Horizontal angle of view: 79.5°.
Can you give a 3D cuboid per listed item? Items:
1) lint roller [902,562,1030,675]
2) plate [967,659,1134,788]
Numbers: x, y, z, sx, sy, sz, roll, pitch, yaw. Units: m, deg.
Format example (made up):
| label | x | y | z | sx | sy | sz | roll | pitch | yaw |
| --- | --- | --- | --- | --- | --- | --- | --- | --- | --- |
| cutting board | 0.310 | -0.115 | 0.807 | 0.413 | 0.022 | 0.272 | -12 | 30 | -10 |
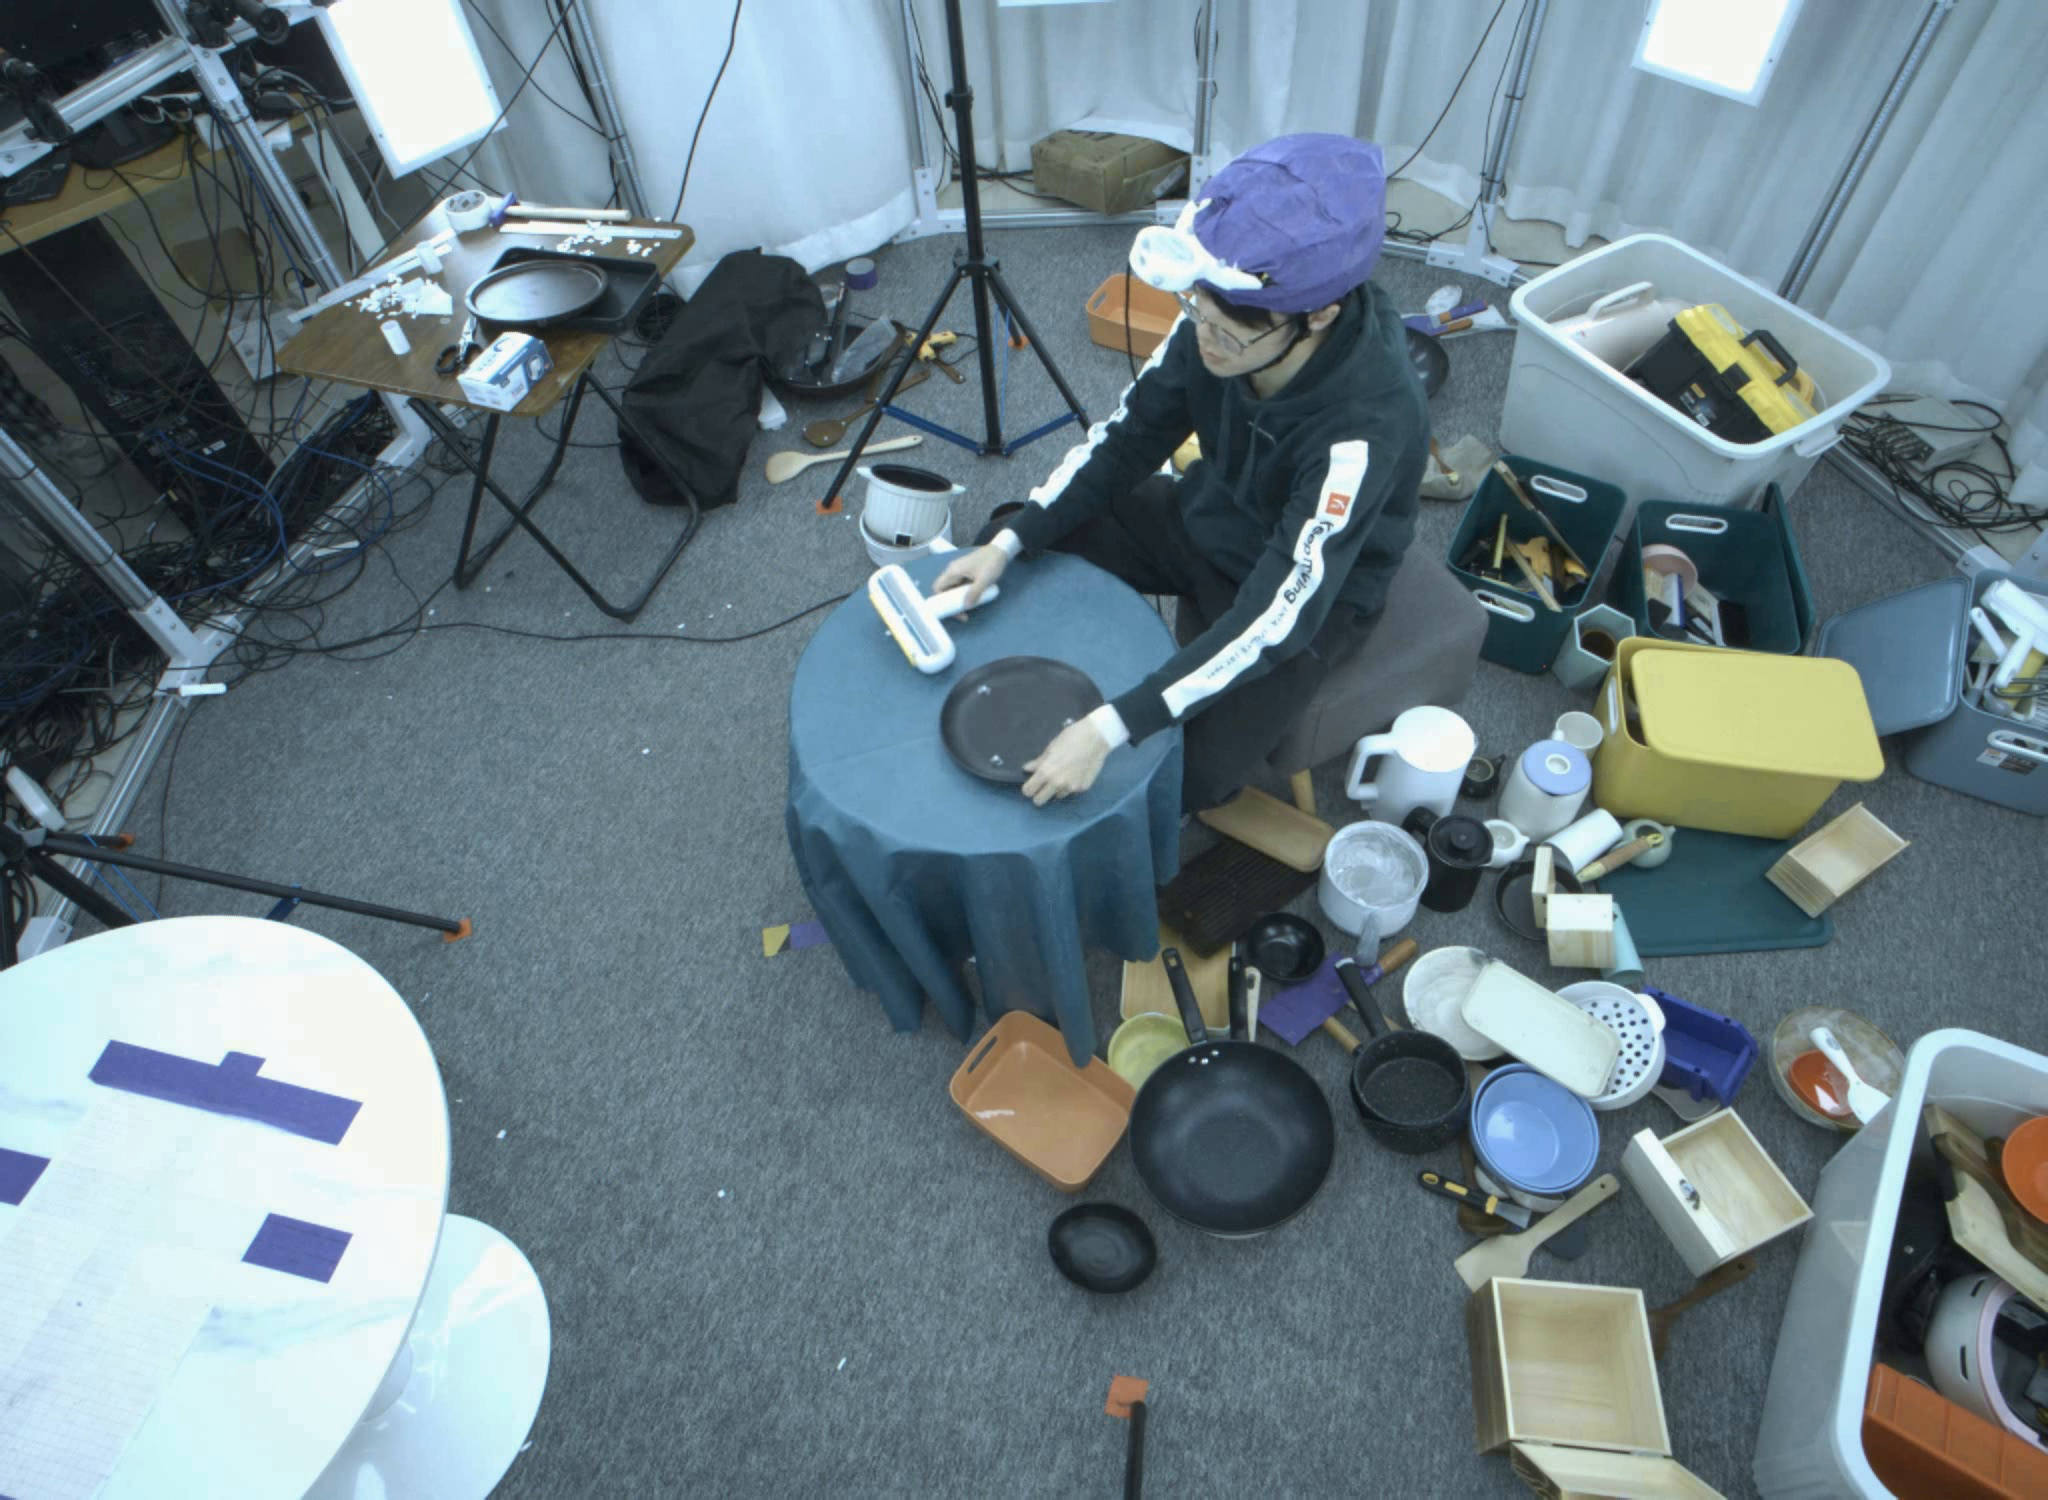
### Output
| label | x | y | z | sx | sy | sz | roll | pitch | yaw |
| --- | --- | --- | --- | --- | --- | --- | --- | --- | --- |
| lint roller | -0.077 | -0.213 | 1.912 | 0.195 | 0.074 | 0.190 | -16 | 65 | -22 |
| plate | 0.039 | -0.037 | 1.788 | 0.244 | 0.024 | 0.242 | -1 | 52 | 2 |
